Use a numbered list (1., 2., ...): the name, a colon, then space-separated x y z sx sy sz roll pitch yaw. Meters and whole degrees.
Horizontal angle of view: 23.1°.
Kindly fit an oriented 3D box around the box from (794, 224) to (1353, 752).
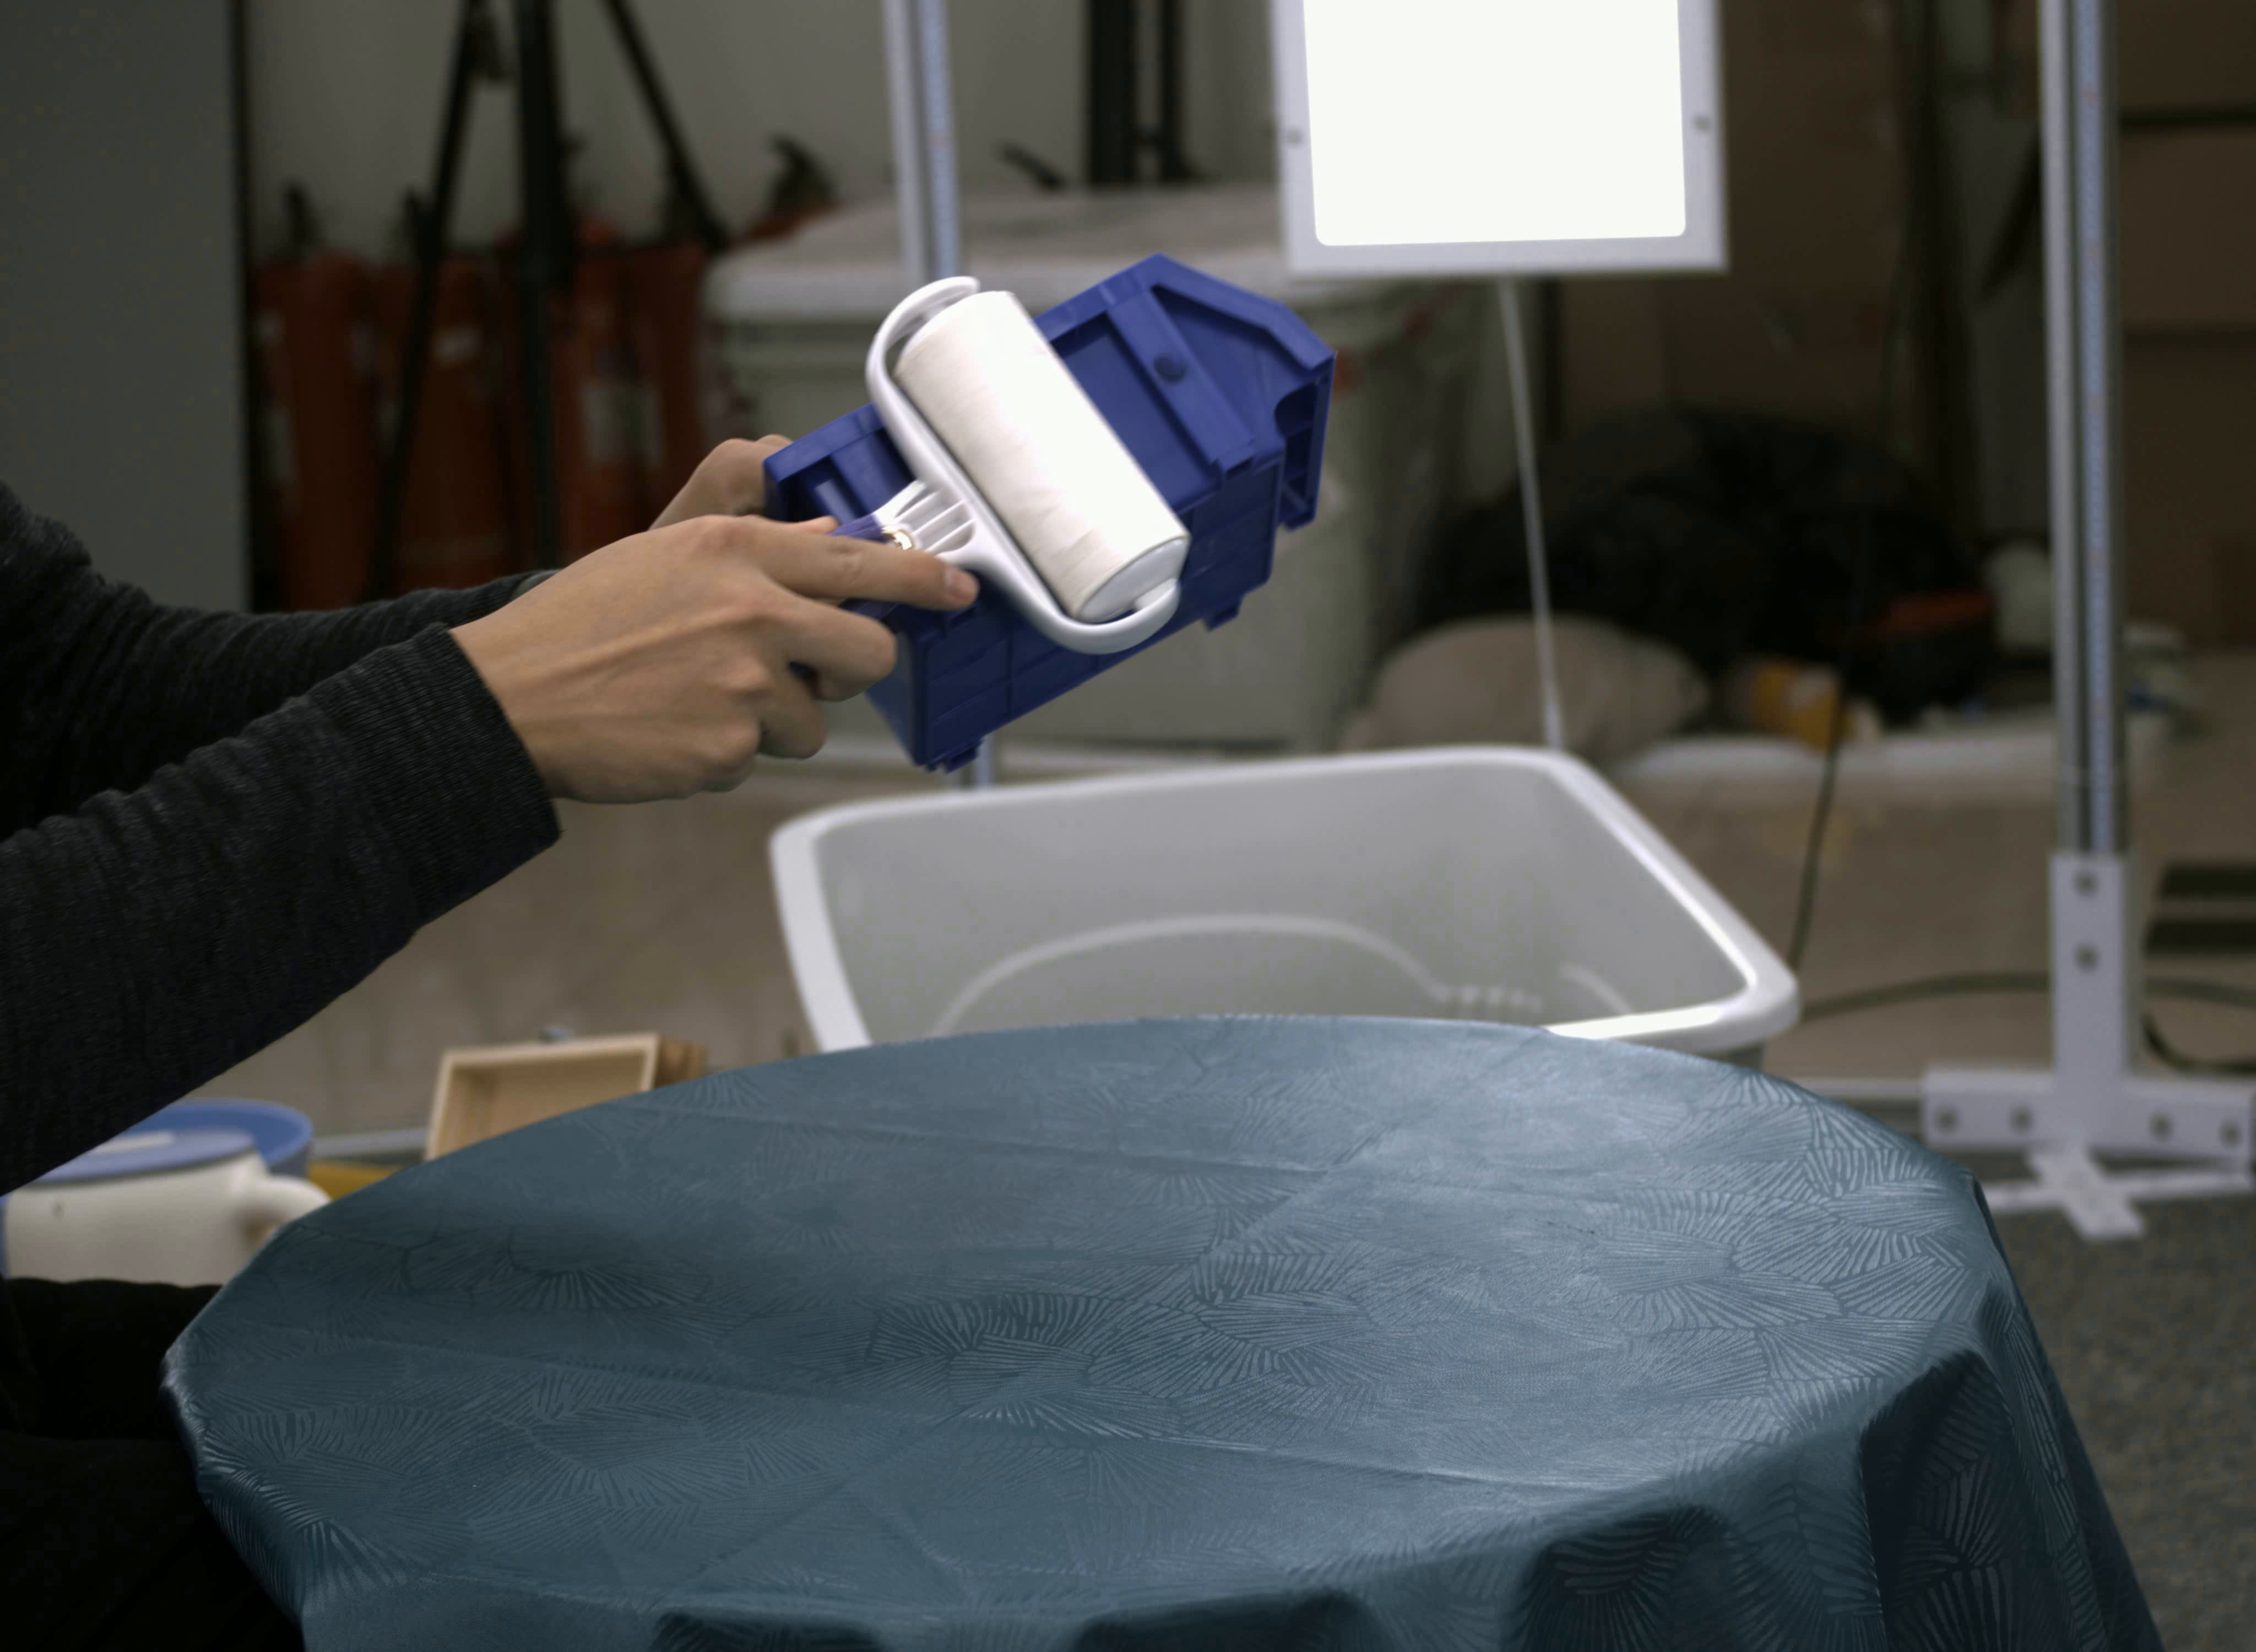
1. box: -0.012 -0.113 1.829 0.177 0.082 0.125 -33 -20 -11

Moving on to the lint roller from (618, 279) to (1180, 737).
1. lint roller: -0.083 -0.086 1.722 0.177 0.133 0.051 -30 -11 -23
